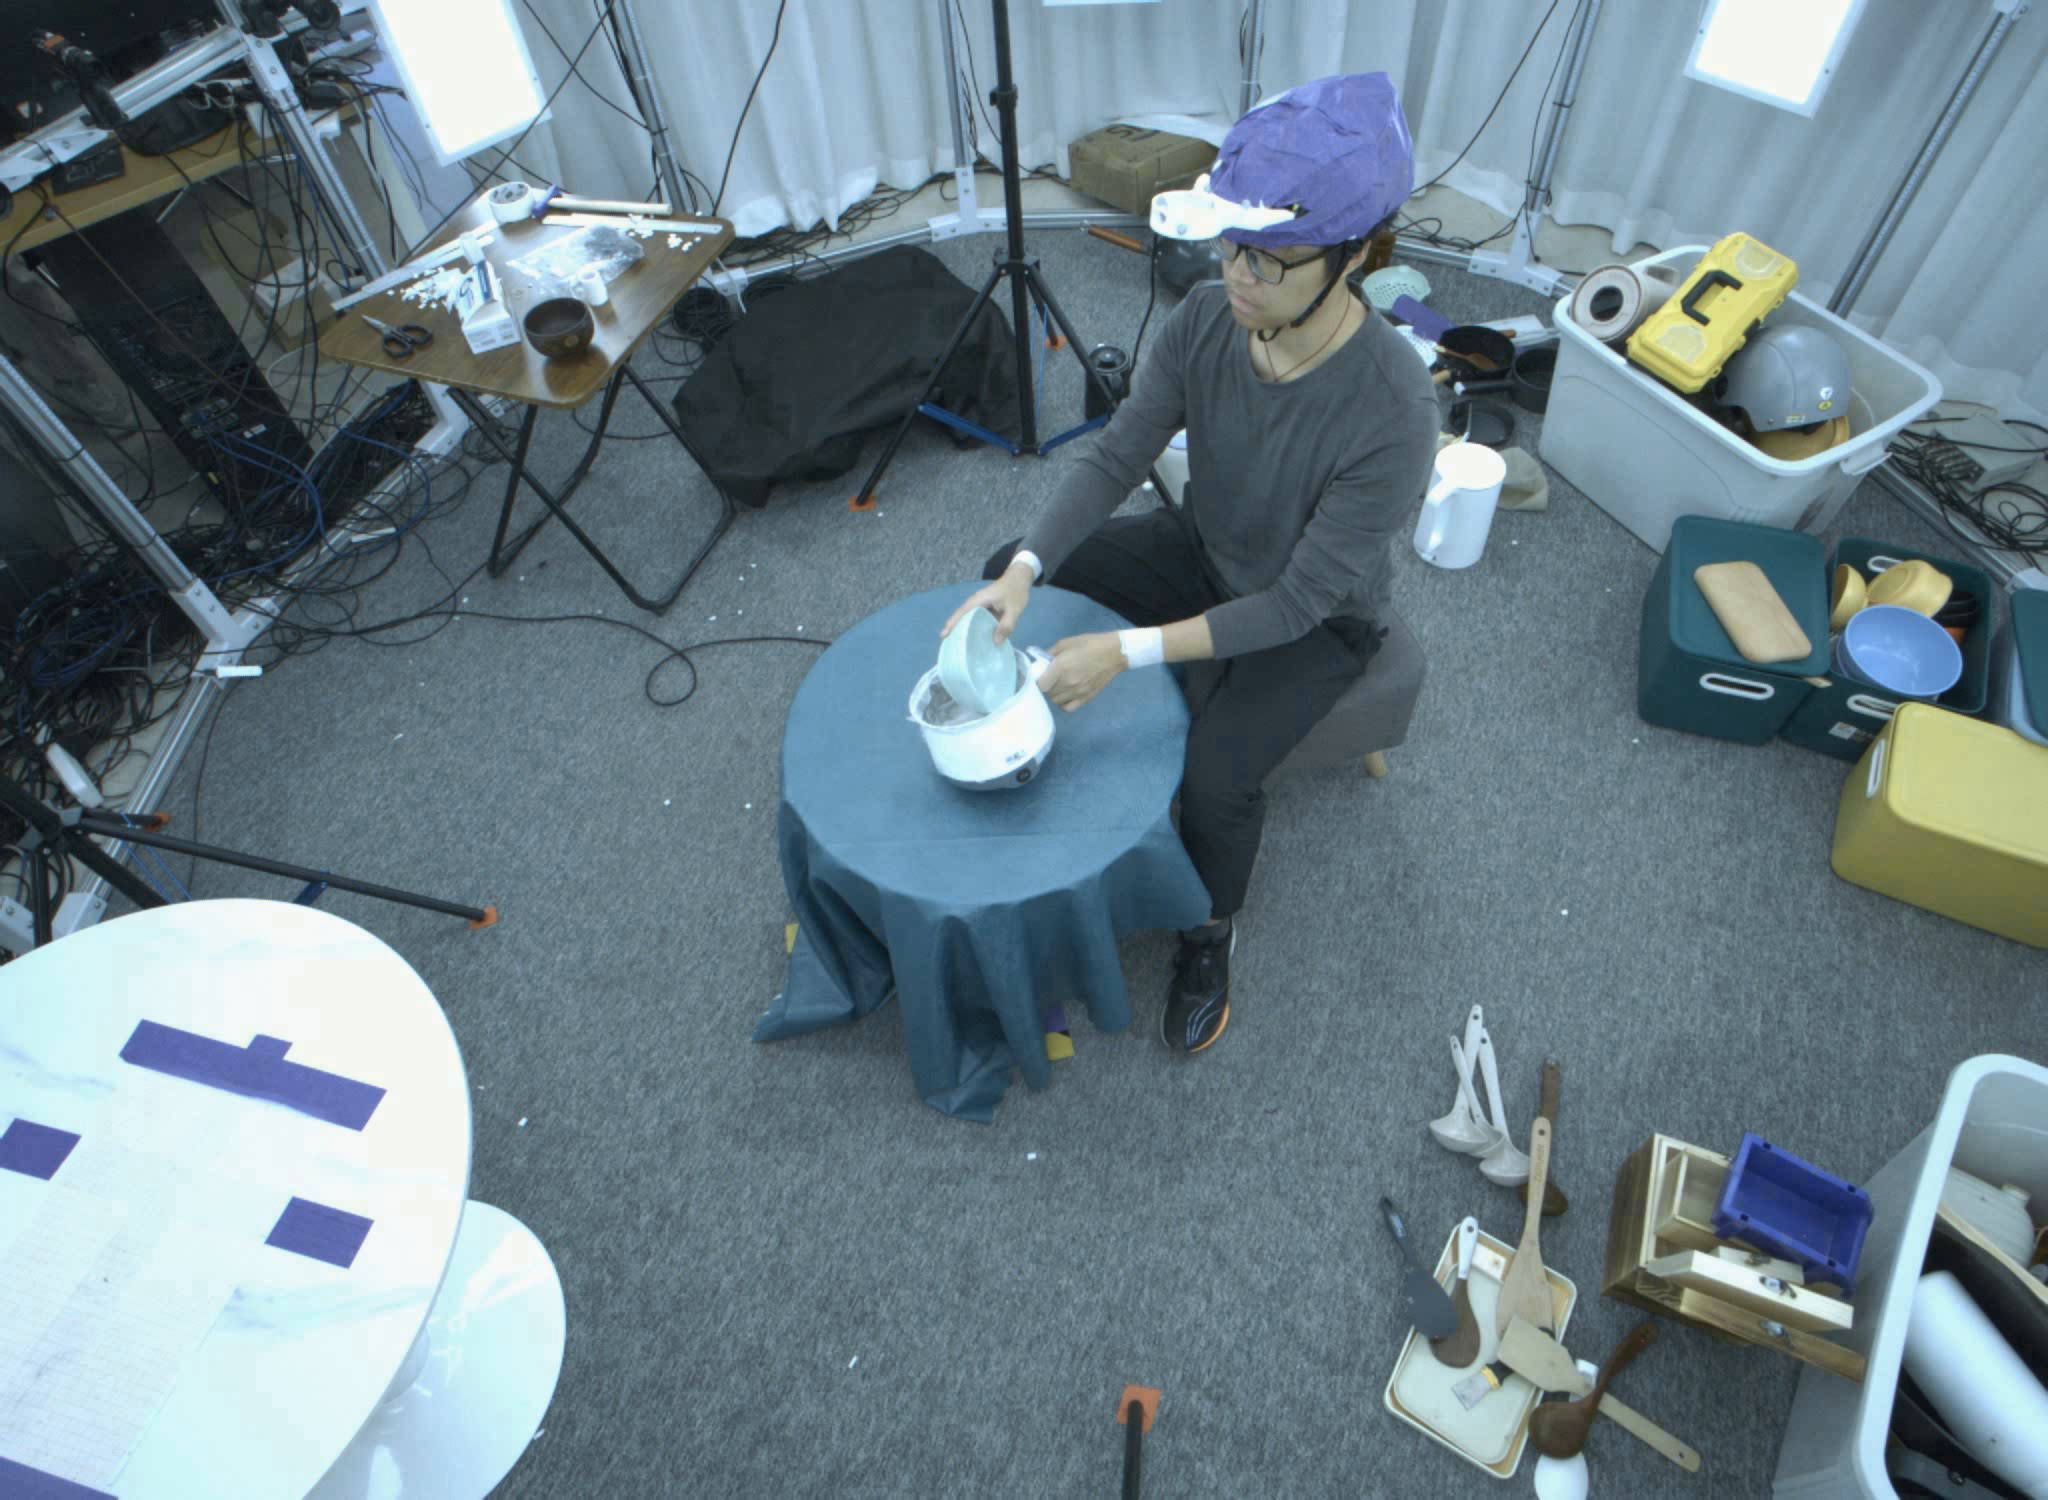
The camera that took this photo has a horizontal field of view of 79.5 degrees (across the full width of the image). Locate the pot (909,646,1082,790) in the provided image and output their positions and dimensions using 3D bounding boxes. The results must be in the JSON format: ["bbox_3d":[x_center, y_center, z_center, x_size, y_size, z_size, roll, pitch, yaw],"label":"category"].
[{"bbox_3d":[-0.032,-0.056,1.725,0.235,0.139,0.174,-32,39,-13],"label":"pot"}]

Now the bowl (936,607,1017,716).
[{"bbox_3d":[-0.070,-0.113,1.651,0.058,0.155,0.150,-8,51,26],"label":"bowl"}]
